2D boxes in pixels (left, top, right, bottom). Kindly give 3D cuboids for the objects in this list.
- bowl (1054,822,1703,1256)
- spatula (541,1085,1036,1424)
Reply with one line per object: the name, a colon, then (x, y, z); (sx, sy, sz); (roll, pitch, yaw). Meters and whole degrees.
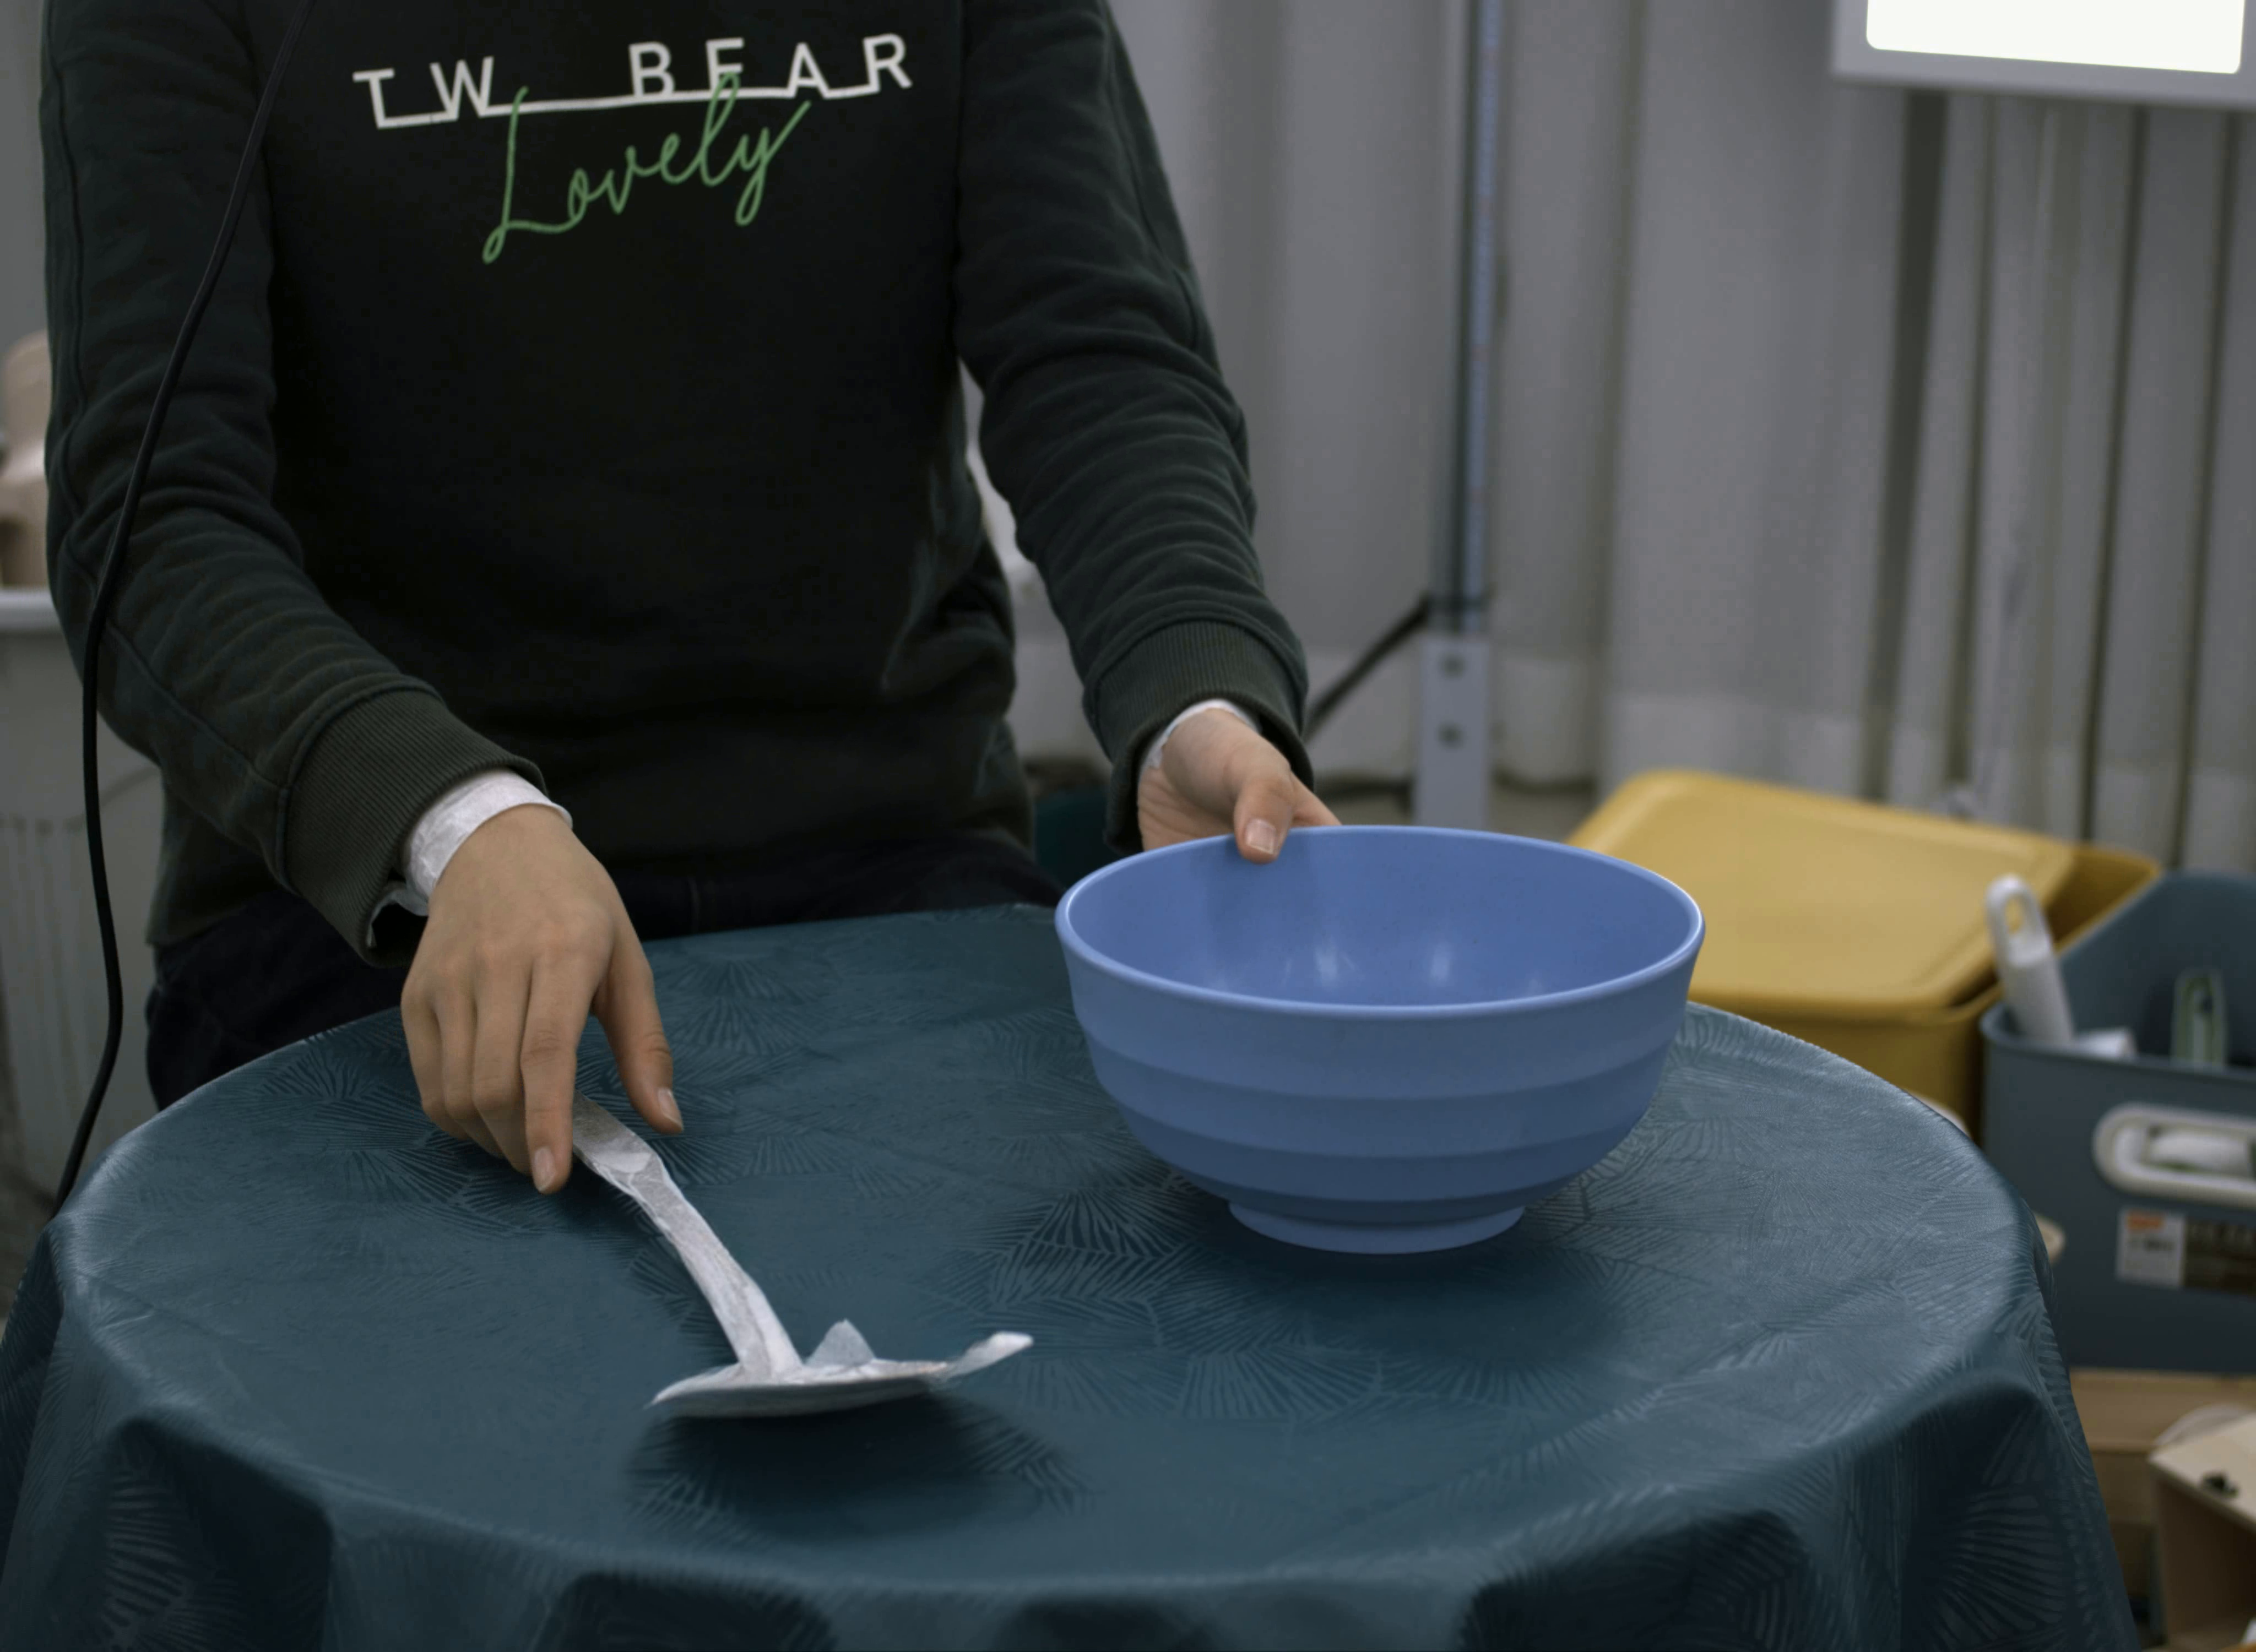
bowl: (0.076, 0.070, 1.603); (0.196, 0.096, 0.195); (0, 17, 1)
spatula: (-0.125, 0.116, 1.539); (0.099, 0.045, 0.361); (-7, 18, -19)
